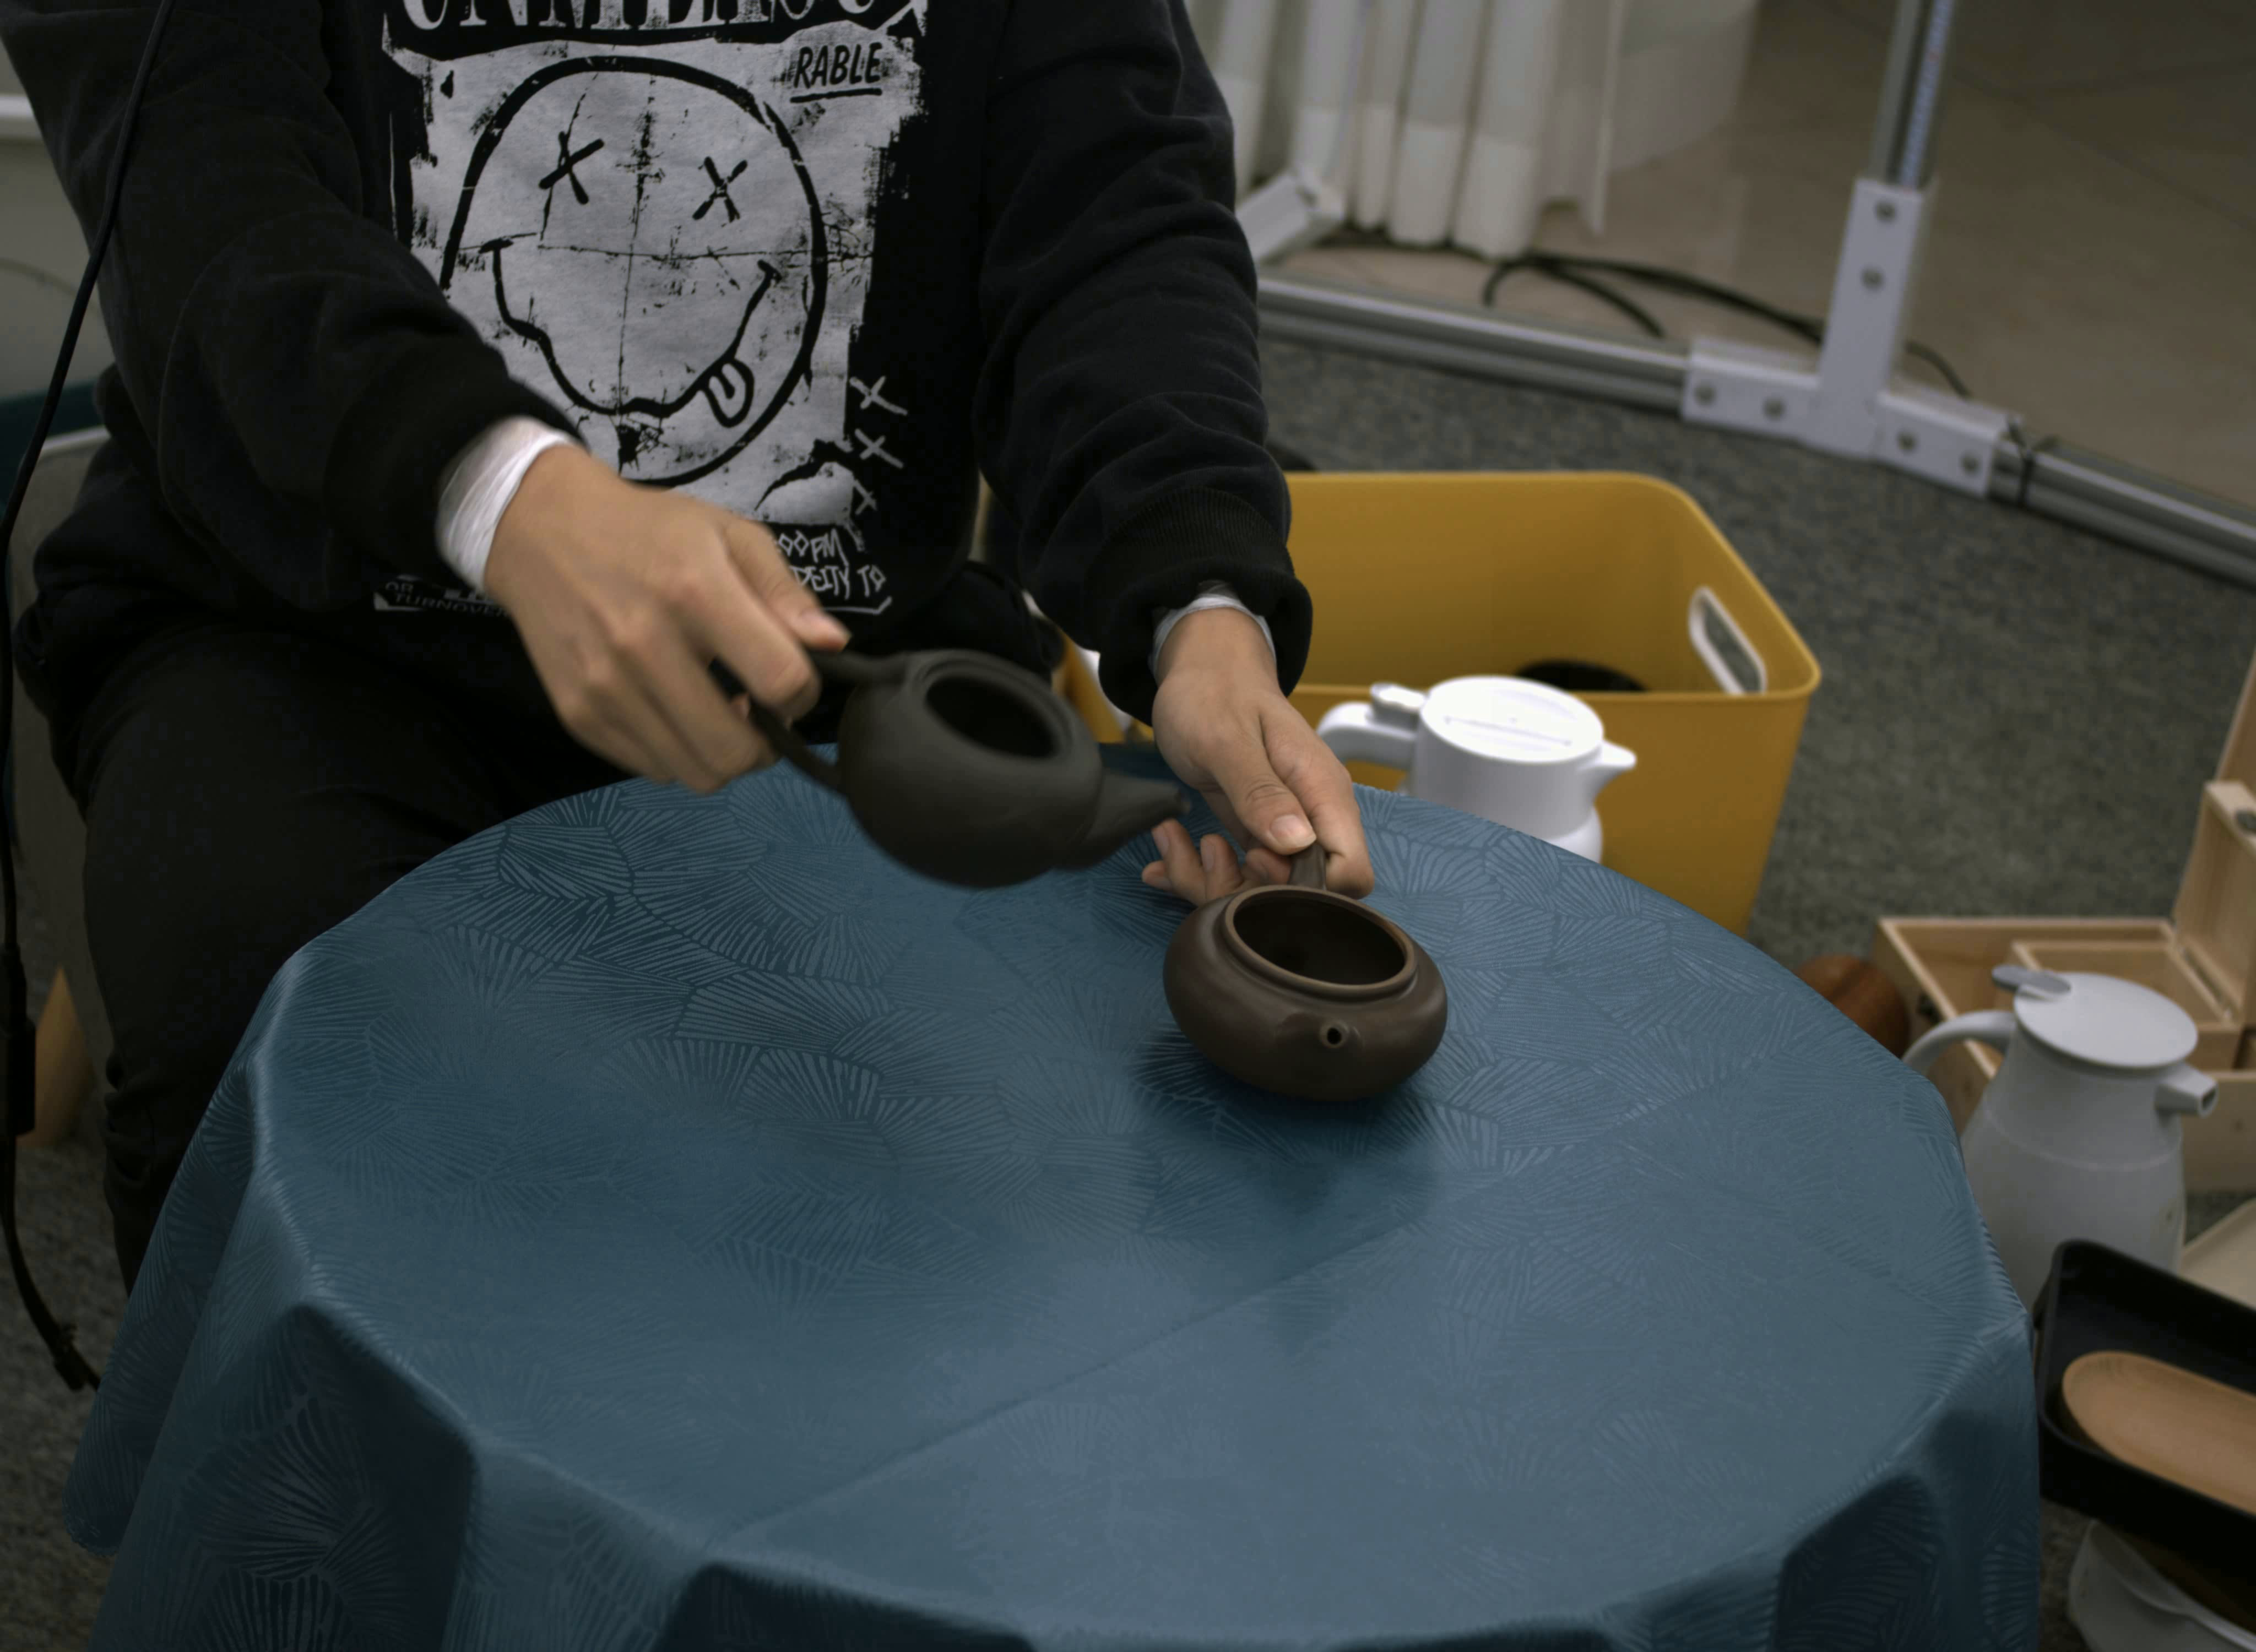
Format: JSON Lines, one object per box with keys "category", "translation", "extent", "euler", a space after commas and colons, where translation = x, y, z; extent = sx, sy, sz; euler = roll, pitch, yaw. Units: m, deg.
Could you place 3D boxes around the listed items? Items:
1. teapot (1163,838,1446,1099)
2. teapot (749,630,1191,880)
{"category": "teapot", "translation": [0.062, 0.054, 1.888], "extent": [0.102, 0.053, 0.154], "euler": [10, 29, -13]}
{"category": "teapot", "translation": [-0.056, -0.023, 1.791], "extent": [0.154, 0.064, 0.093], "euler": [22, 28, -5]}
